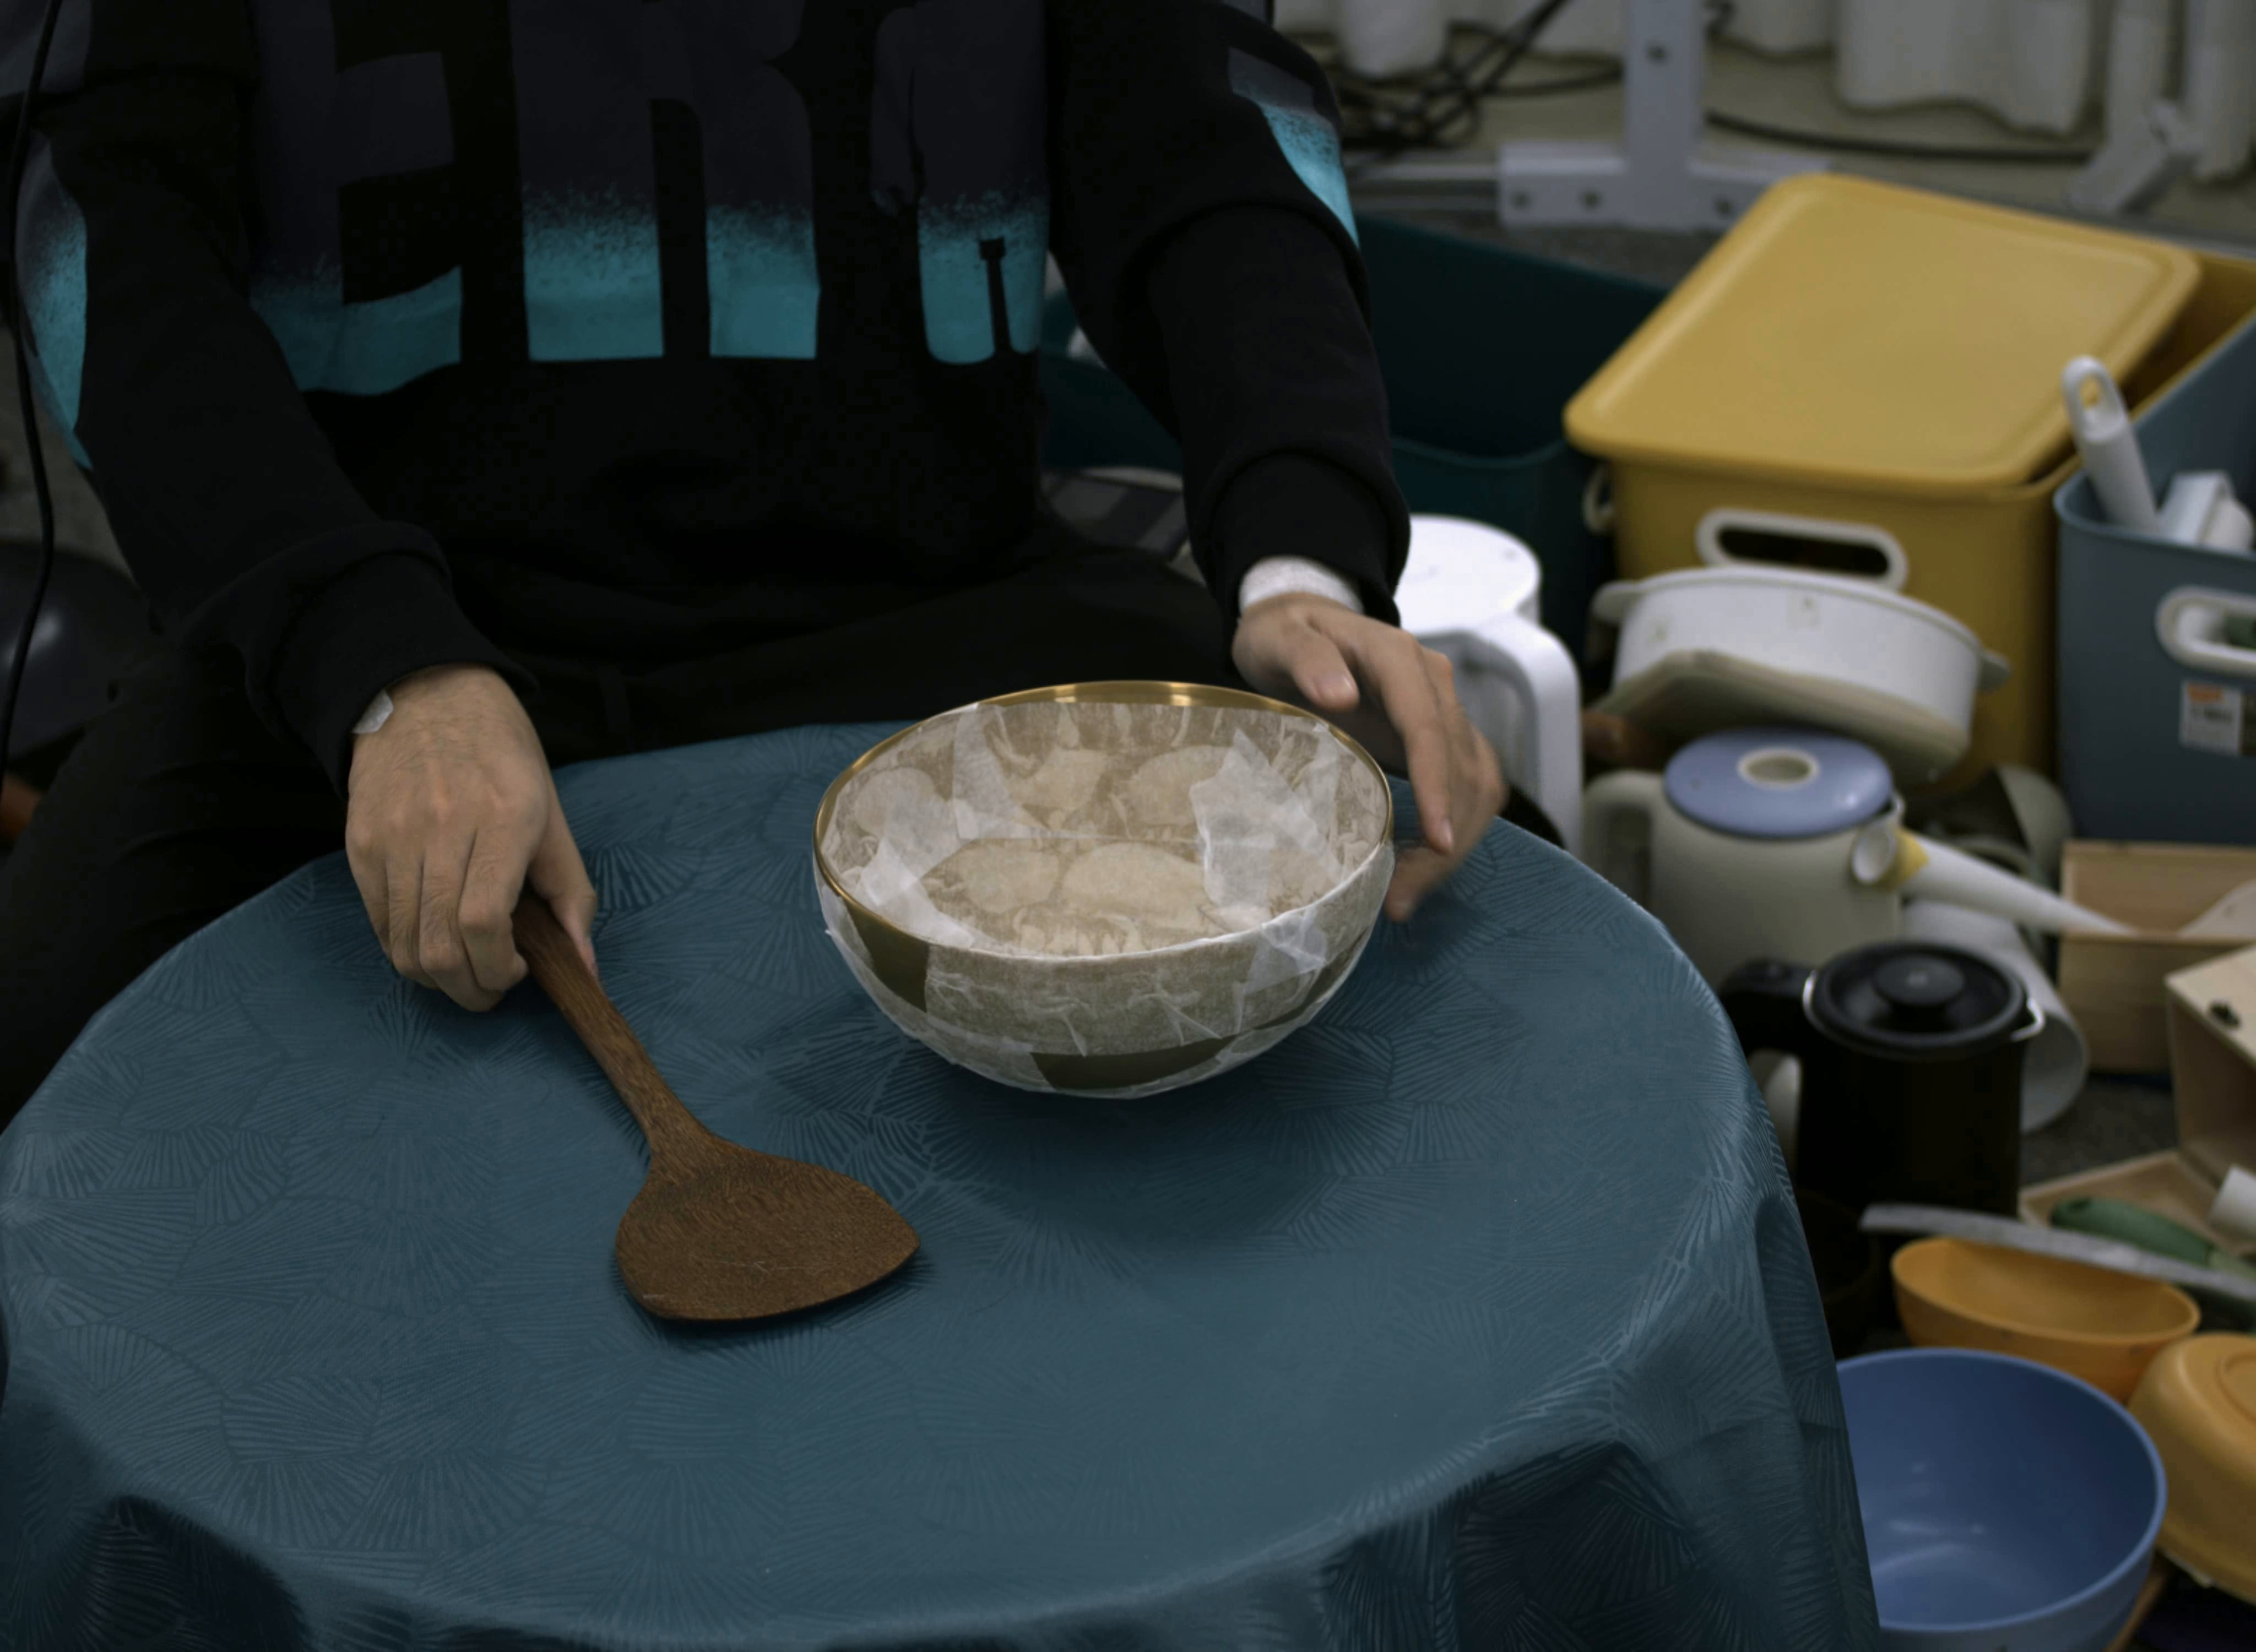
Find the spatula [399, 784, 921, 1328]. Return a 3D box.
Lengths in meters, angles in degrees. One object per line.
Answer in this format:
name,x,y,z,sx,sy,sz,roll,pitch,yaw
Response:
spatula,-0.183,0.071,1.949,0.096,0.015,0.389,-13,32,-21

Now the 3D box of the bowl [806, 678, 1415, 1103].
bowl,-0.004,0.033,1.933,0.213,0.093,0.218,-4,26,2
